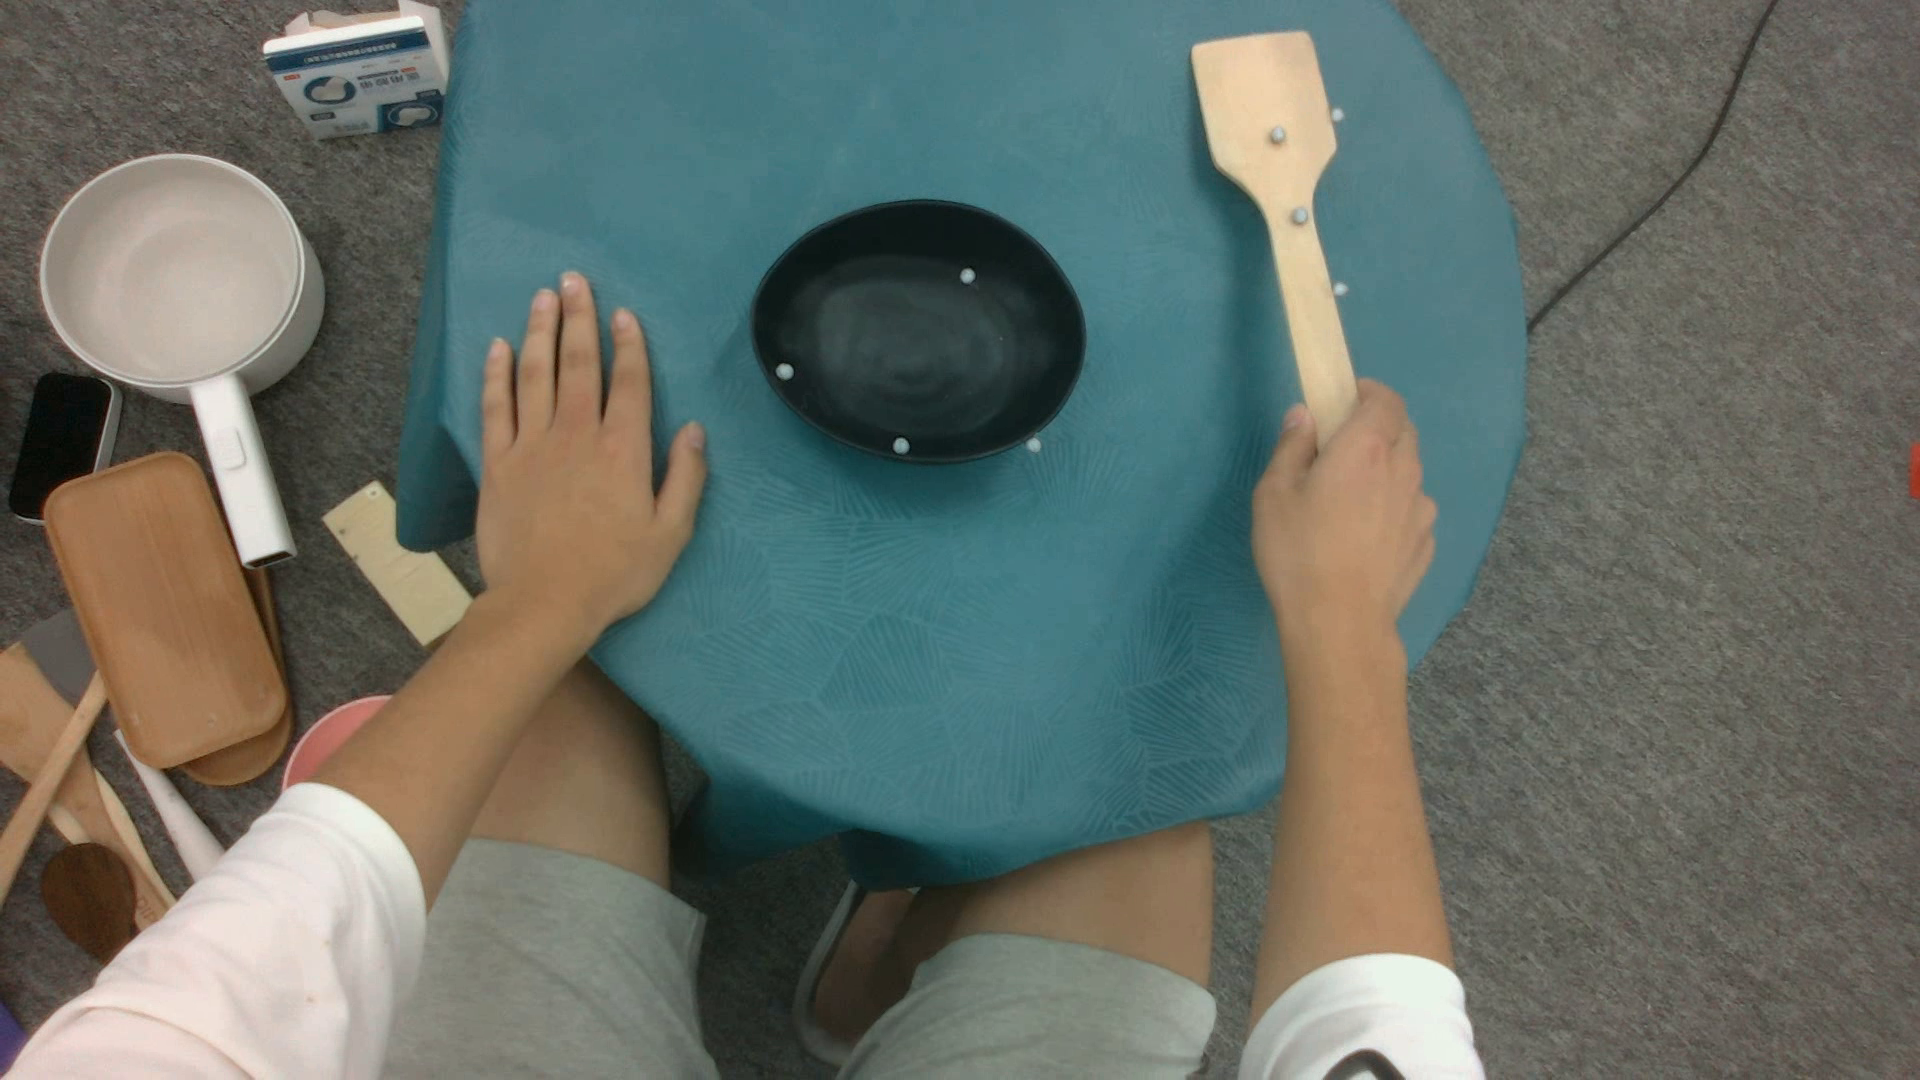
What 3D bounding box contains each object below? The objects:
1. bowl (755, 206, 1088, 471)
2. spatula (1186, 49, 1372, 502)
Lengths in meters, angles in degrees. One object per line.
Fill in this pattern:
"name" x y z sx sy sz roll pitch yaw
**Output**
"bowl" -0.021 -0.098 0.721 0.170 0.066 0.137 1 80 -6
"spatula" 0.182 -0.153 0.751 0.072 0.010 0.294 -6 66 -1
